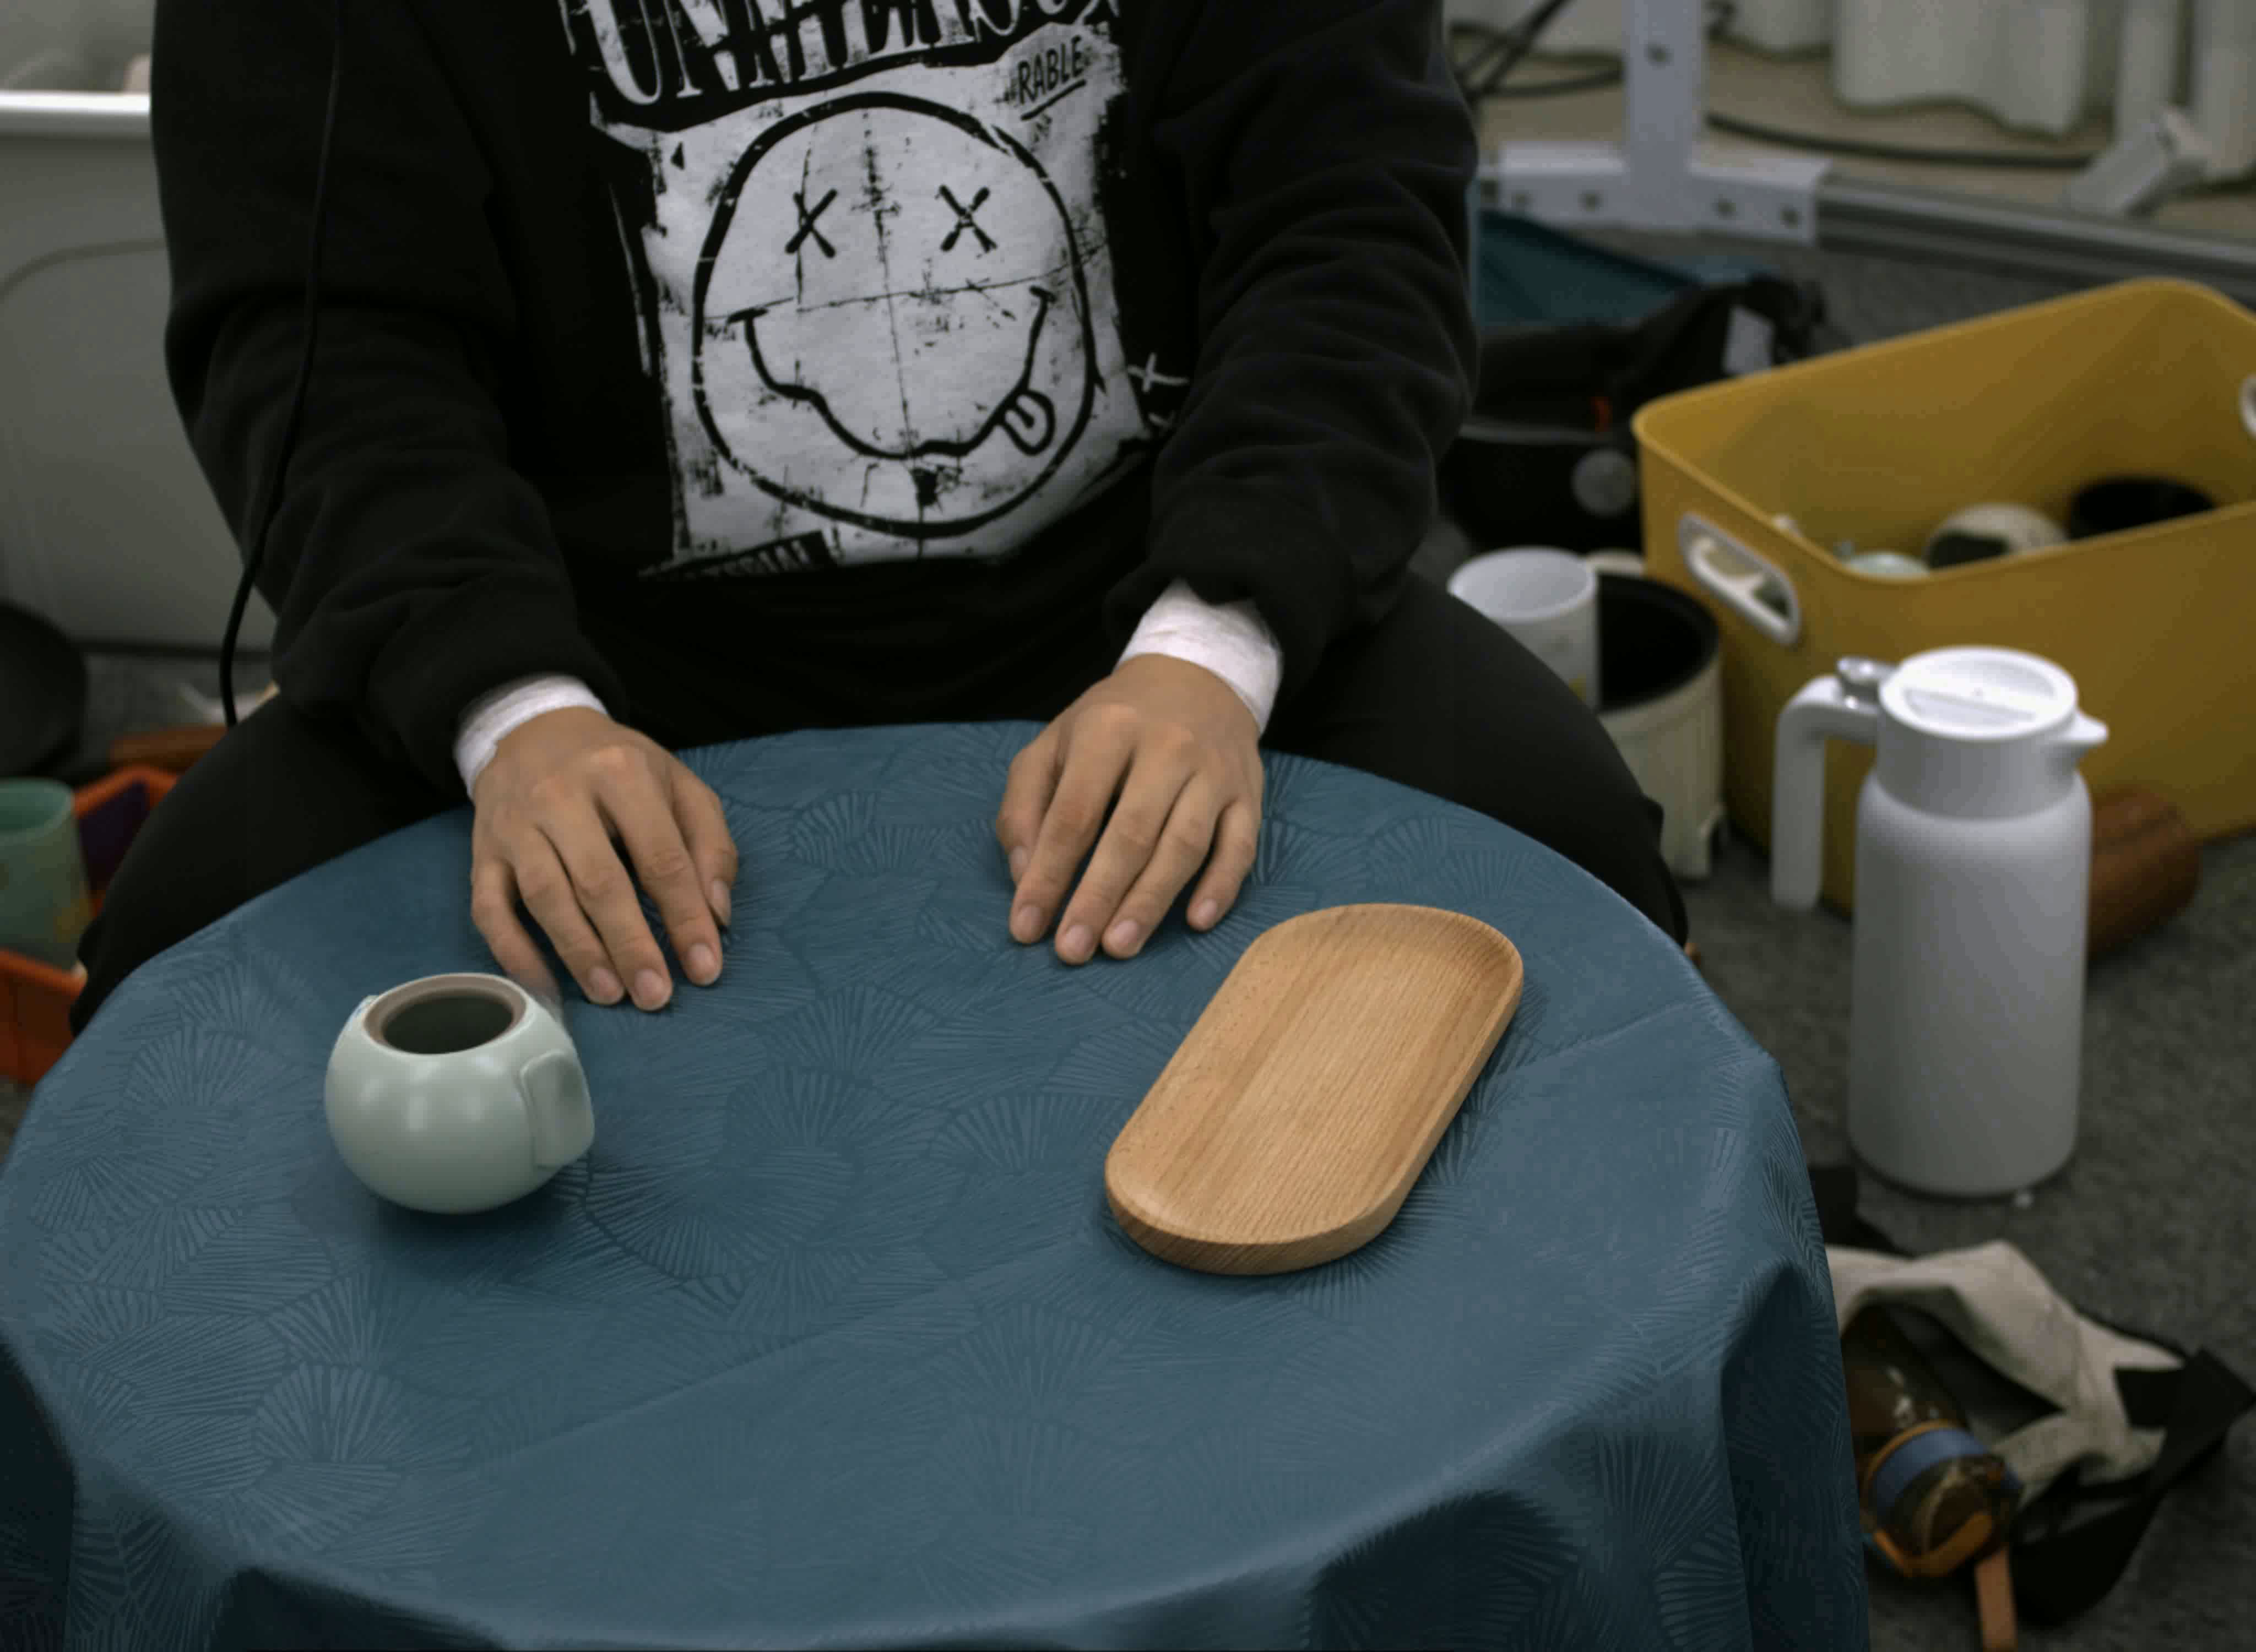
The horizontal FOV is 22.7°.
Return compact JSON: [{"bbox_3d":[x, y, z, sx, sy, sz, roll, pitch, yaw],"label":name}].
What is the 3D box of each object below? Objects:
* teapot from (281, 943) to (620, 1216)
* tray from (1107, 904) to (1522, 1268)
[{"bbox_3d":[-0.223,0.088,1.867,0.143,0.074,0.089,18,33,32],"label":"teapot"},{"bbox_3d":[0.065,0.086,1.905,0.101,0.020,0.235,8,27,17],"label":"tray"}]
